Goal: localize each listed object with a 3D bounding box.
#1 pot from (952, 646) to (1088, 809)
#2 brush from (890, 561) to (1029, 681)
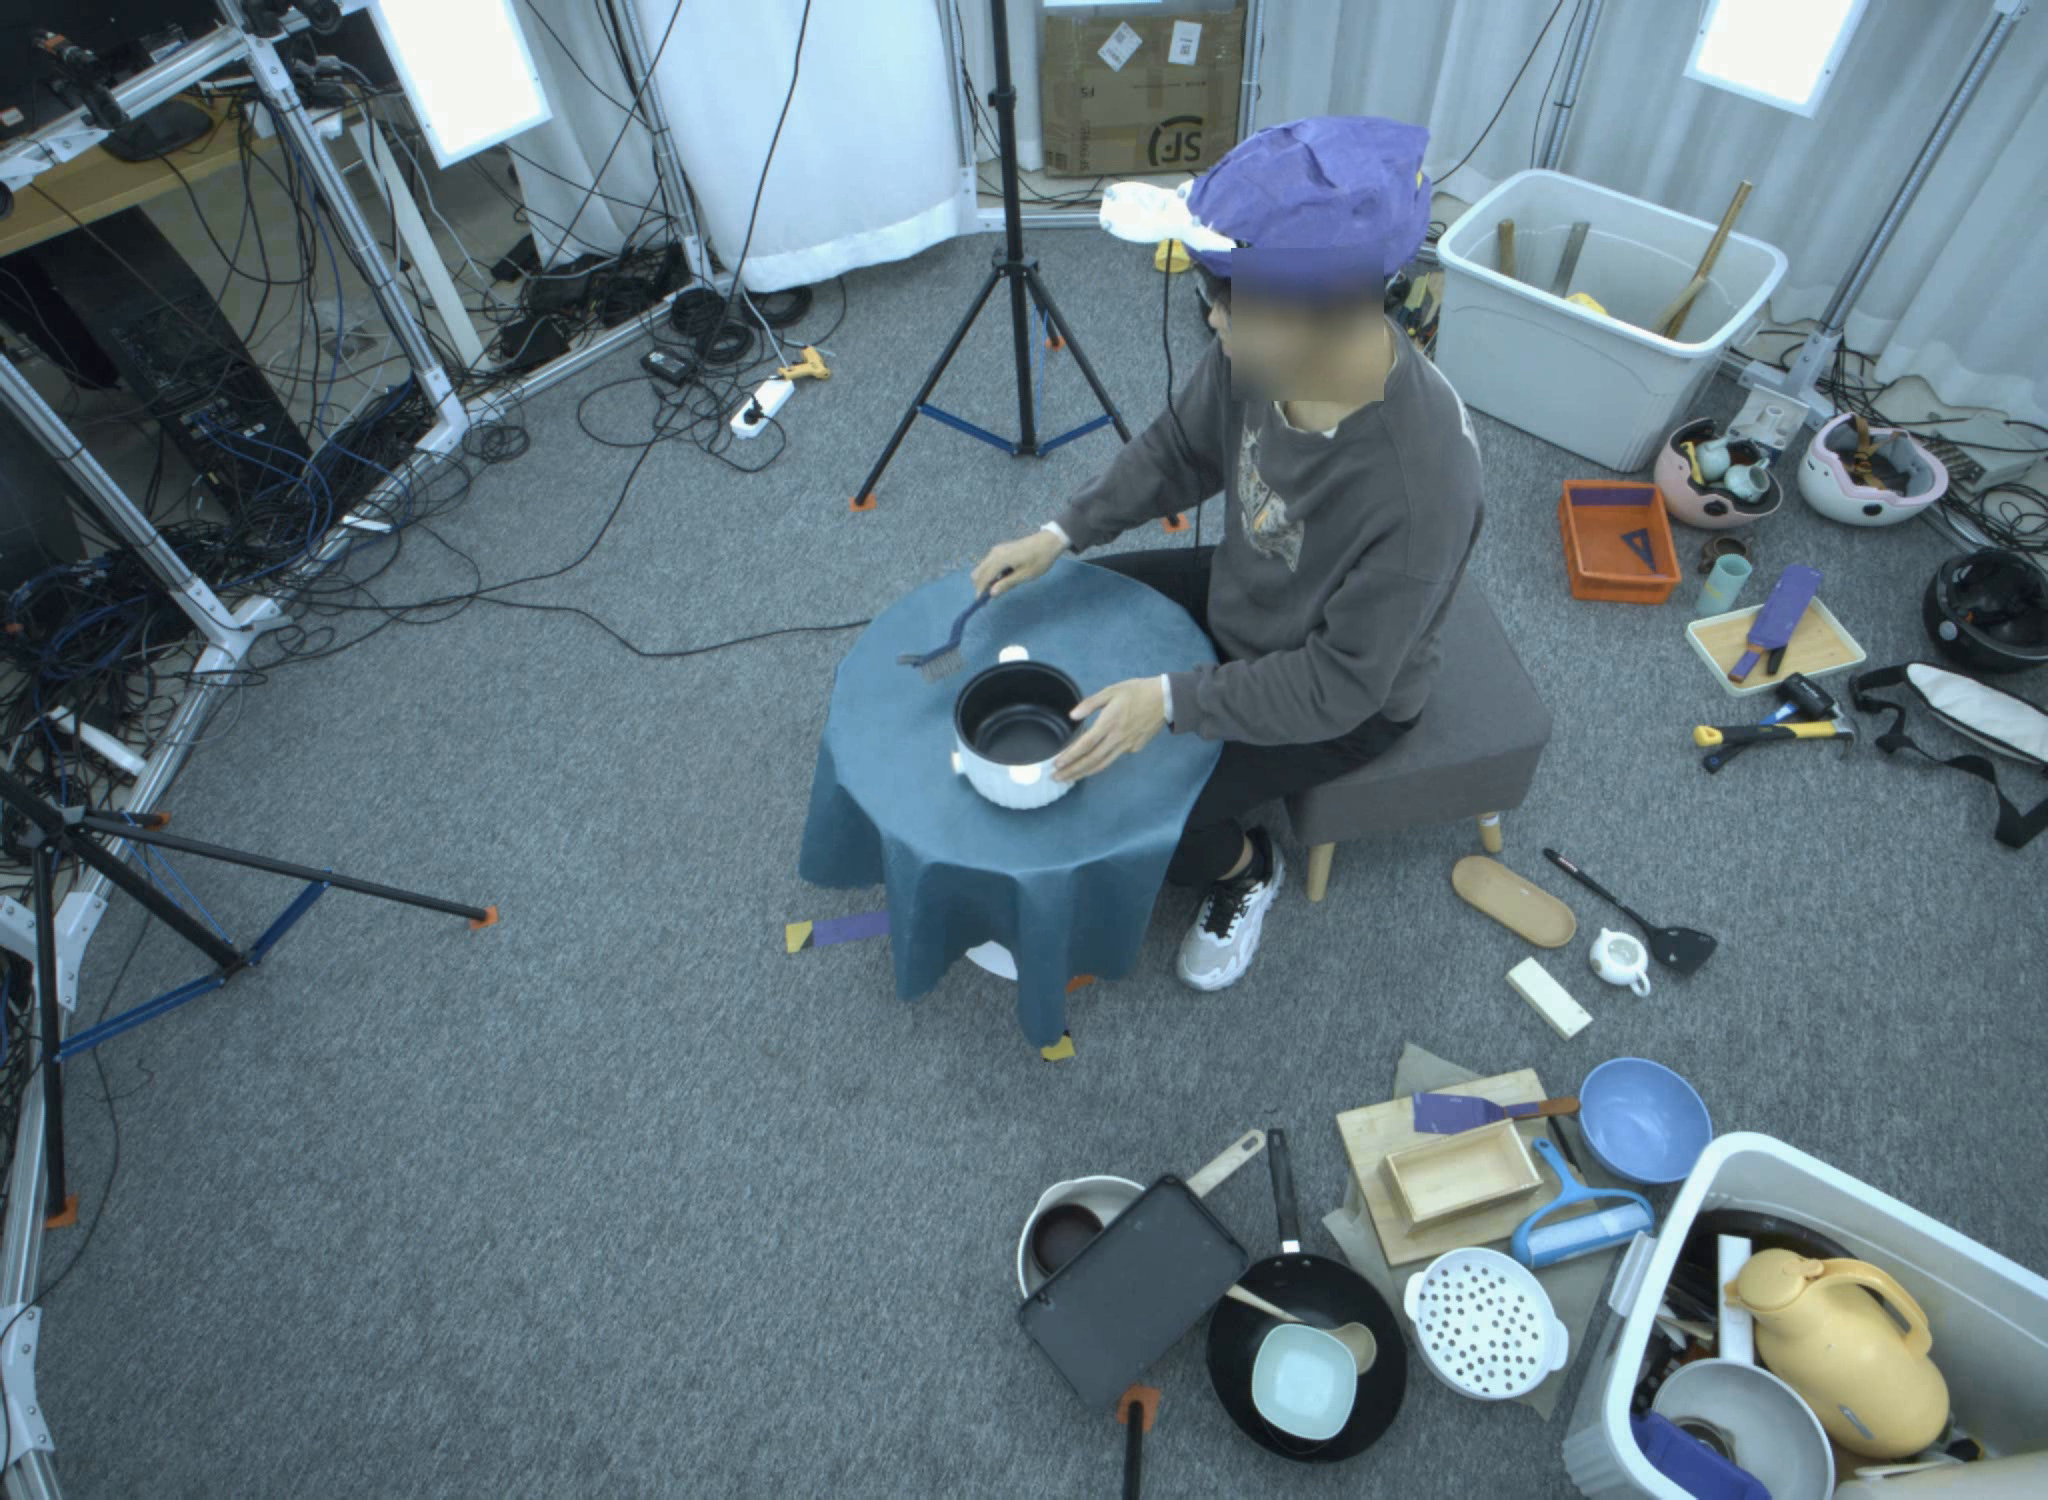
[{"bbox_3d":[-0.007,-0.012,1.707,0.191,0.144,0.237,-4,53,-4],"label":"pot"},{"bbox_3d":[-0.090,-0.209,1.841,0.097,0.033,0.274,42,61,-14],"label":"brush"}]
